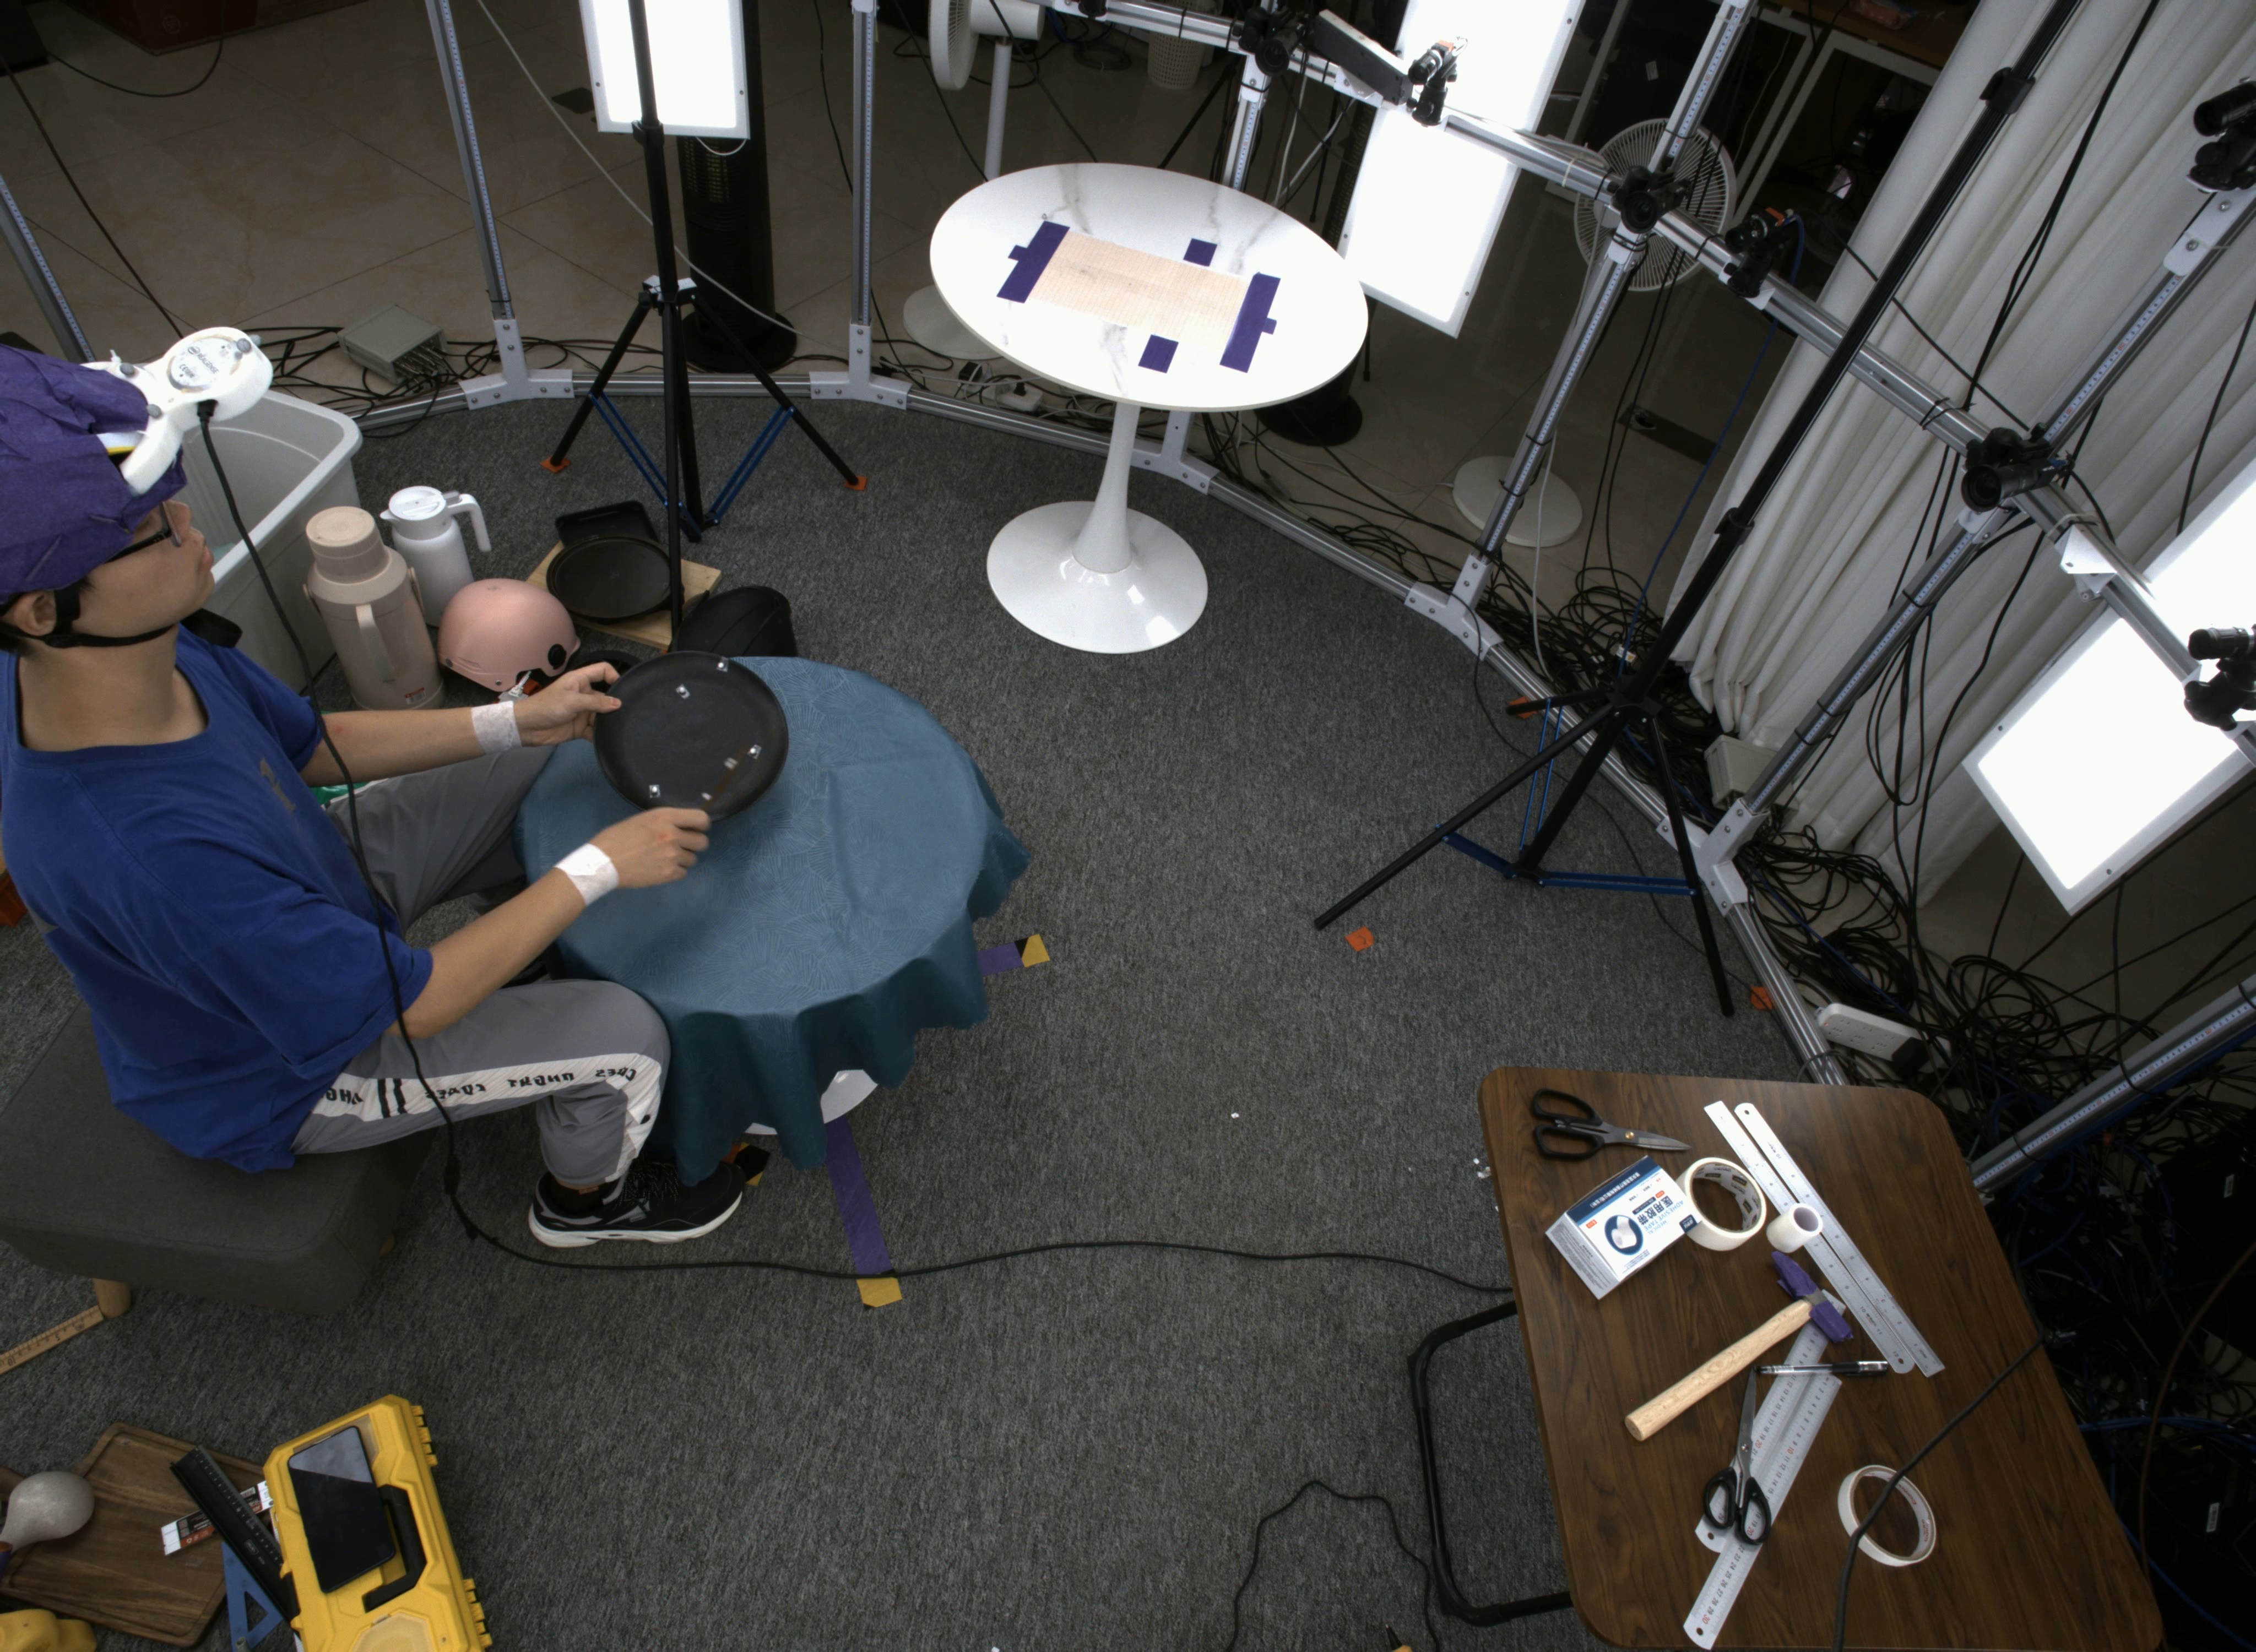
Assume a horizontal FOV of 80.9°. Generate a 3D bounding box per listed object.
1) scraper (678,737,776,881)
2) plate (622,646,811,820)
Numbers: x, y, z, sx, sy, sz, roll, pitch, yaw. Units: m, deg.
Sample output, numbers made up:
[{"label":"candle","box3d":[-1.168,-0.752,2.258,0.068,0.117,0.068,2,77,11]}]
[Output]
[{"label":"scraper","box3d":[-0.490,-0.019,1.584,0.011,0.076,0.210,32,60,-6]},{"label":"plate","box3d":[-0.537,-0.120,1.682,0.246,0.023,0.243,8,70,-18]}]
